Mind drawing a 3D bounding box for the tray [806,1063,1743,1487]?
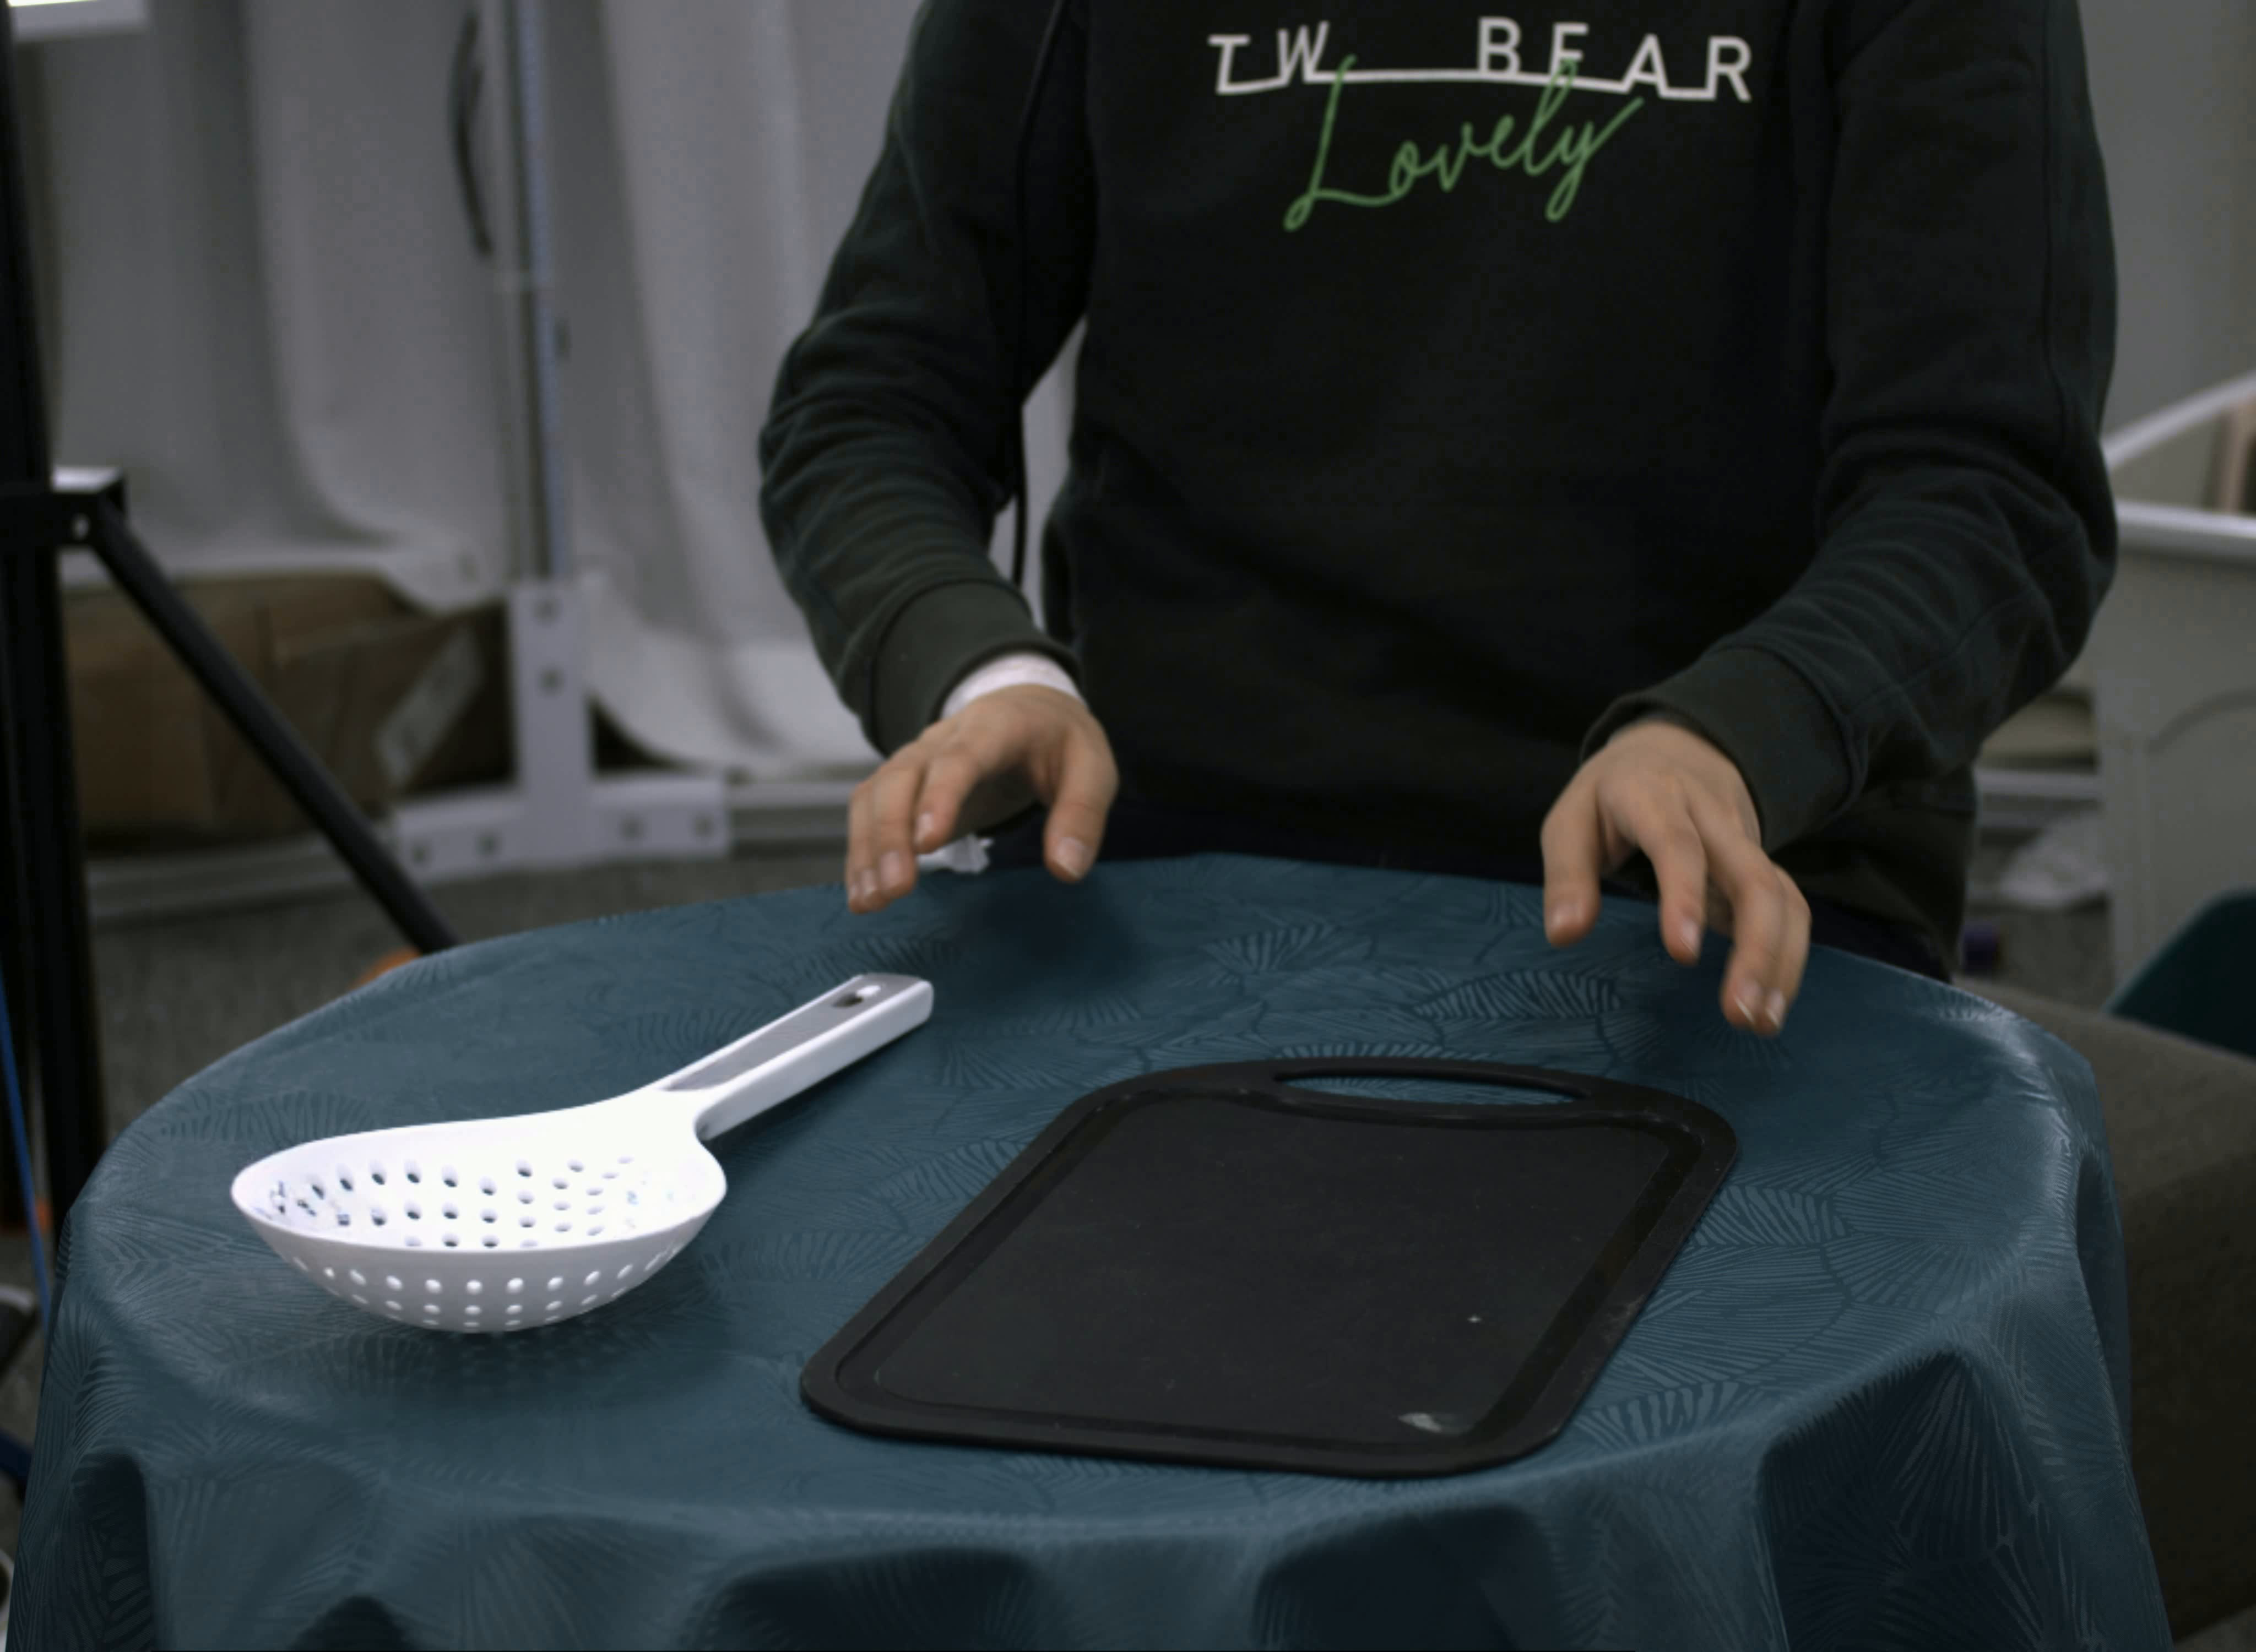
[{"bbox_3d":[0.050,0.118,1.502,0.213,0.010,0.322,3,17,19],"label":"tray"}]

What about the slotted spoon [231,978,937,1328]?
[{"bbox_3d":[-0.139,0.087,1.573,0.138,0.046,0.345,6,17,22],"label":"slotted spoon"}]
